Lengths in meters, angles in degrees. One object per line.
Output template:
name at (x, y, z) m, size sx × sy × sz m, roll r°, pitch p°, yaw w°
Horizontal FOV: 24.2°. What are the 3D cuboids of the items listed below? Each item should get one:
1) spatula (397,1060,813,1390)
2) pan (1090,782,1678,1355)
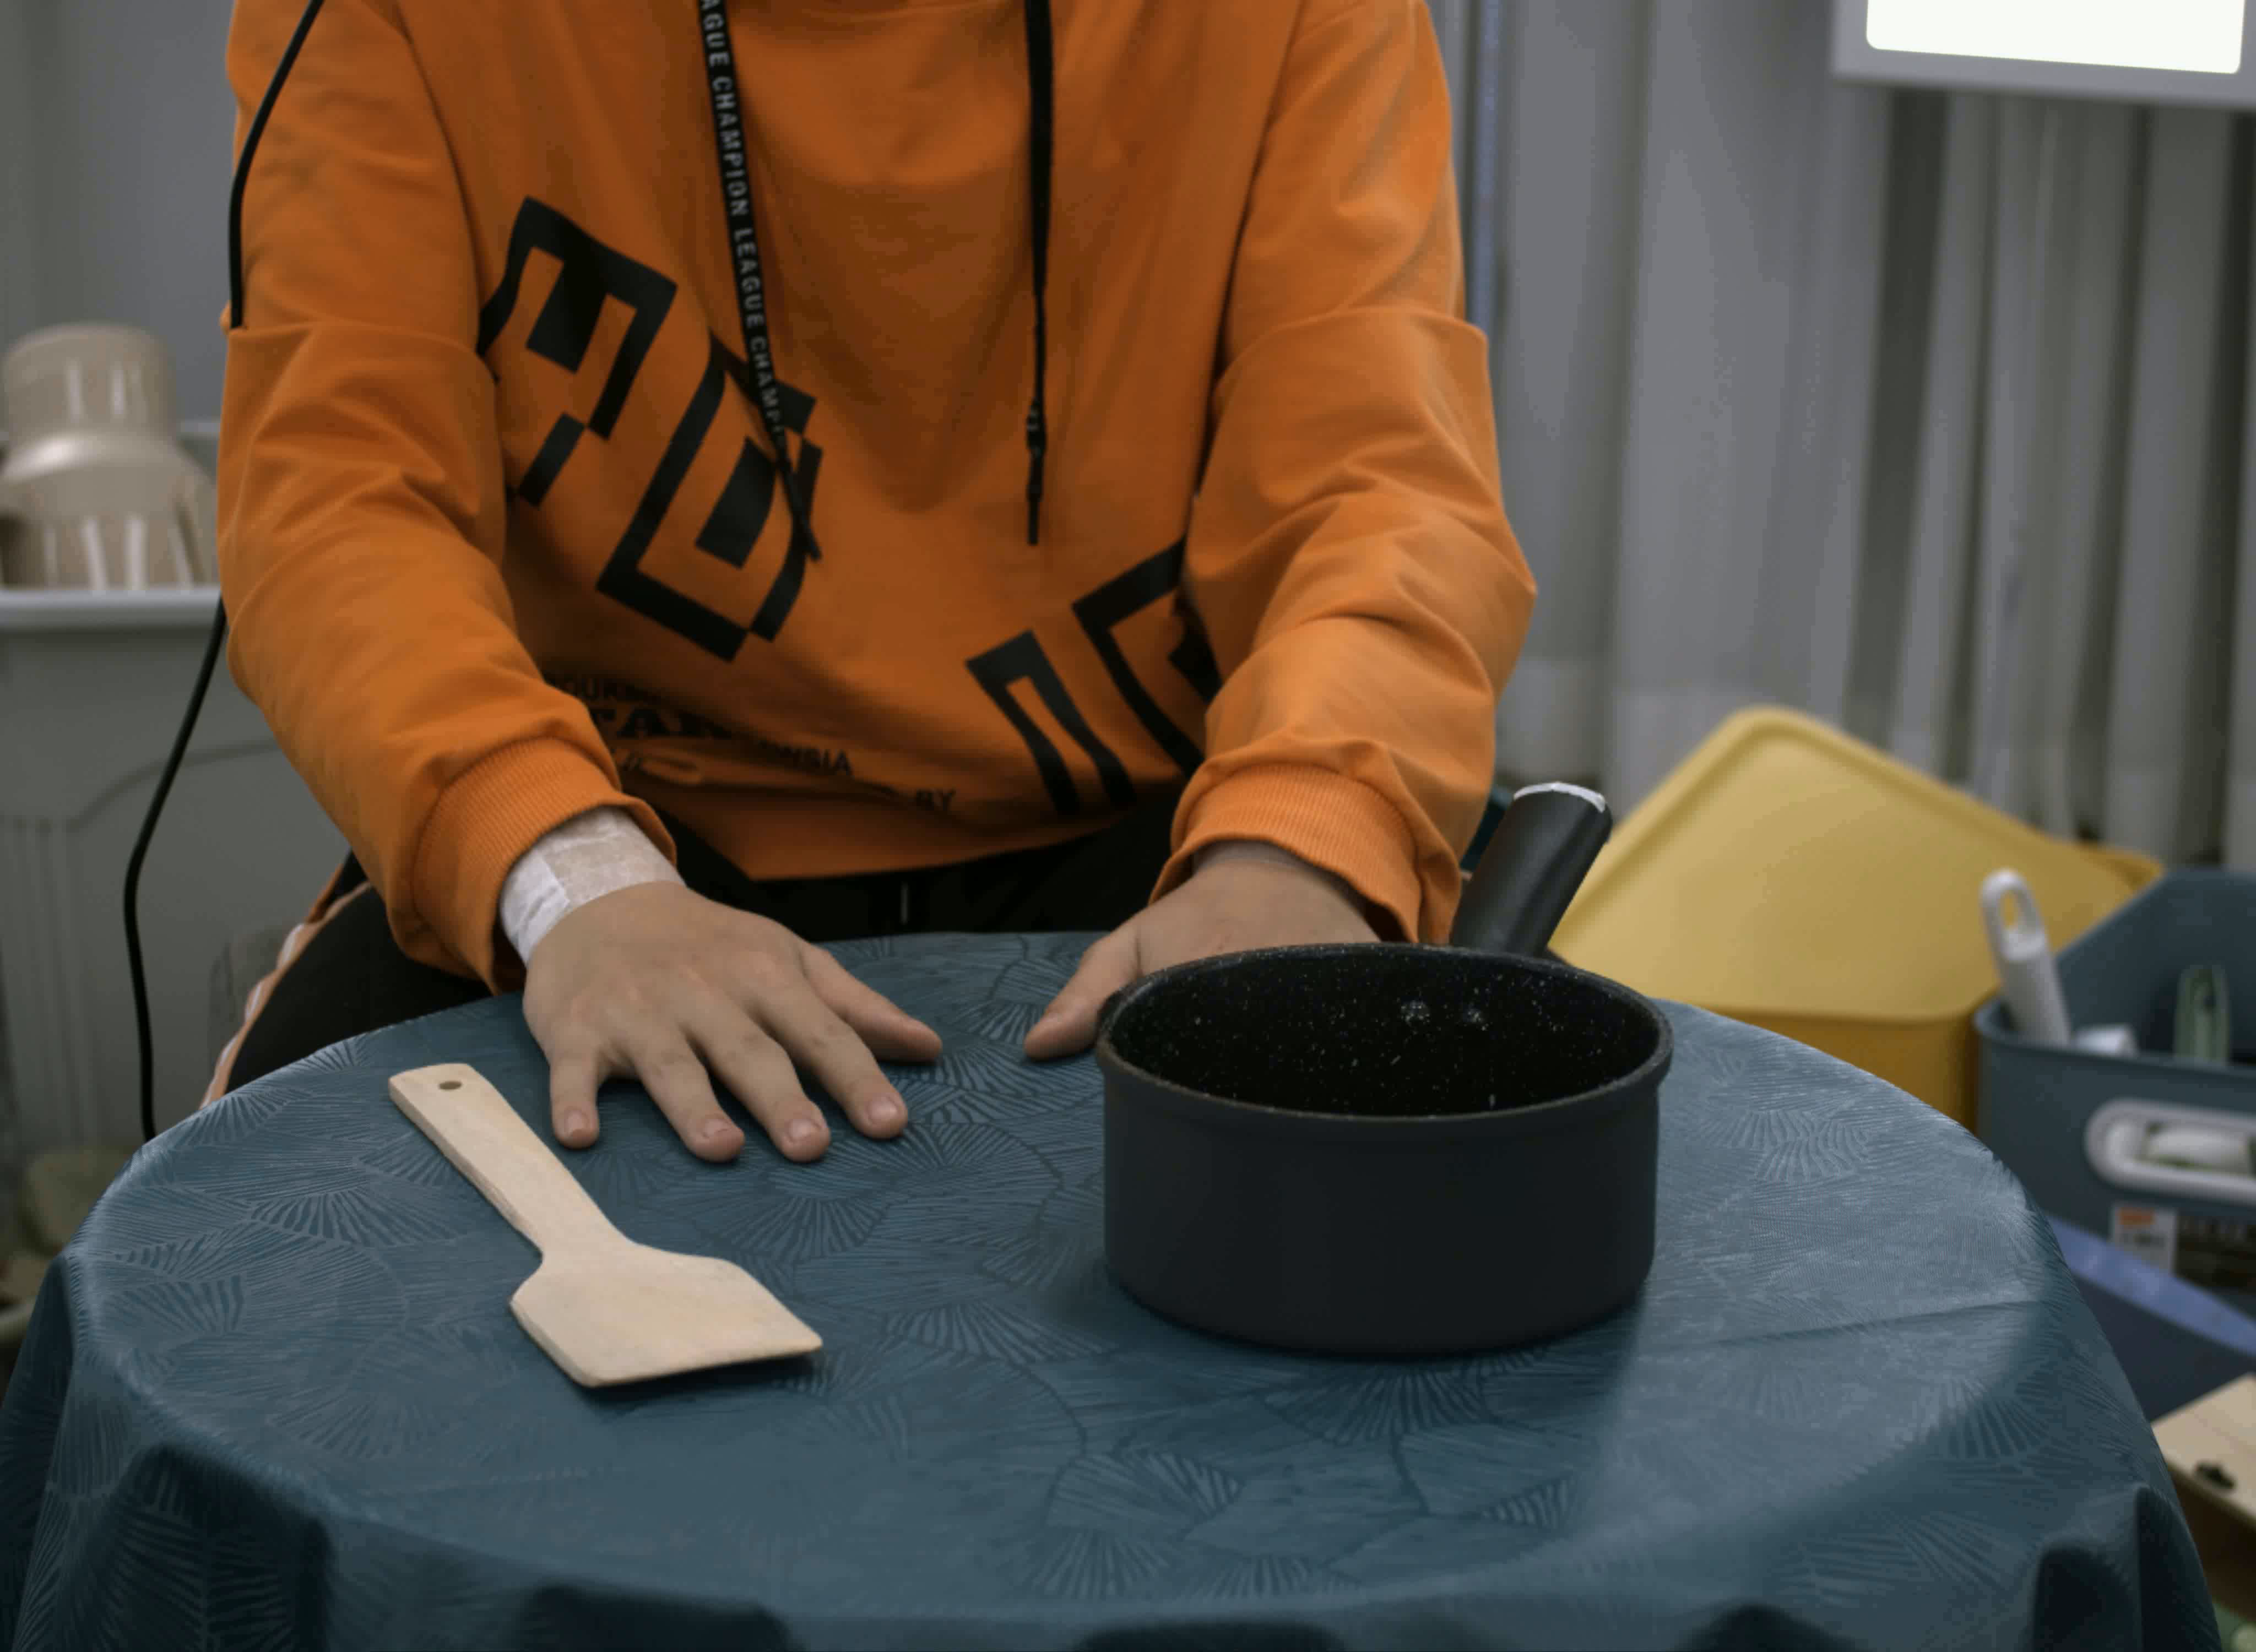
spatula at (-0.173, 0.116, 1.587) m, size 0.072 × 0.011 × 0.289 m, roll -10°, pitch 18°, yaw -21°
pan at (0.101, 0.070, 1.620) m, size 0.170 × 0.087 × 0.329 m, roll 7°, pitch 18°, yaw 19°
